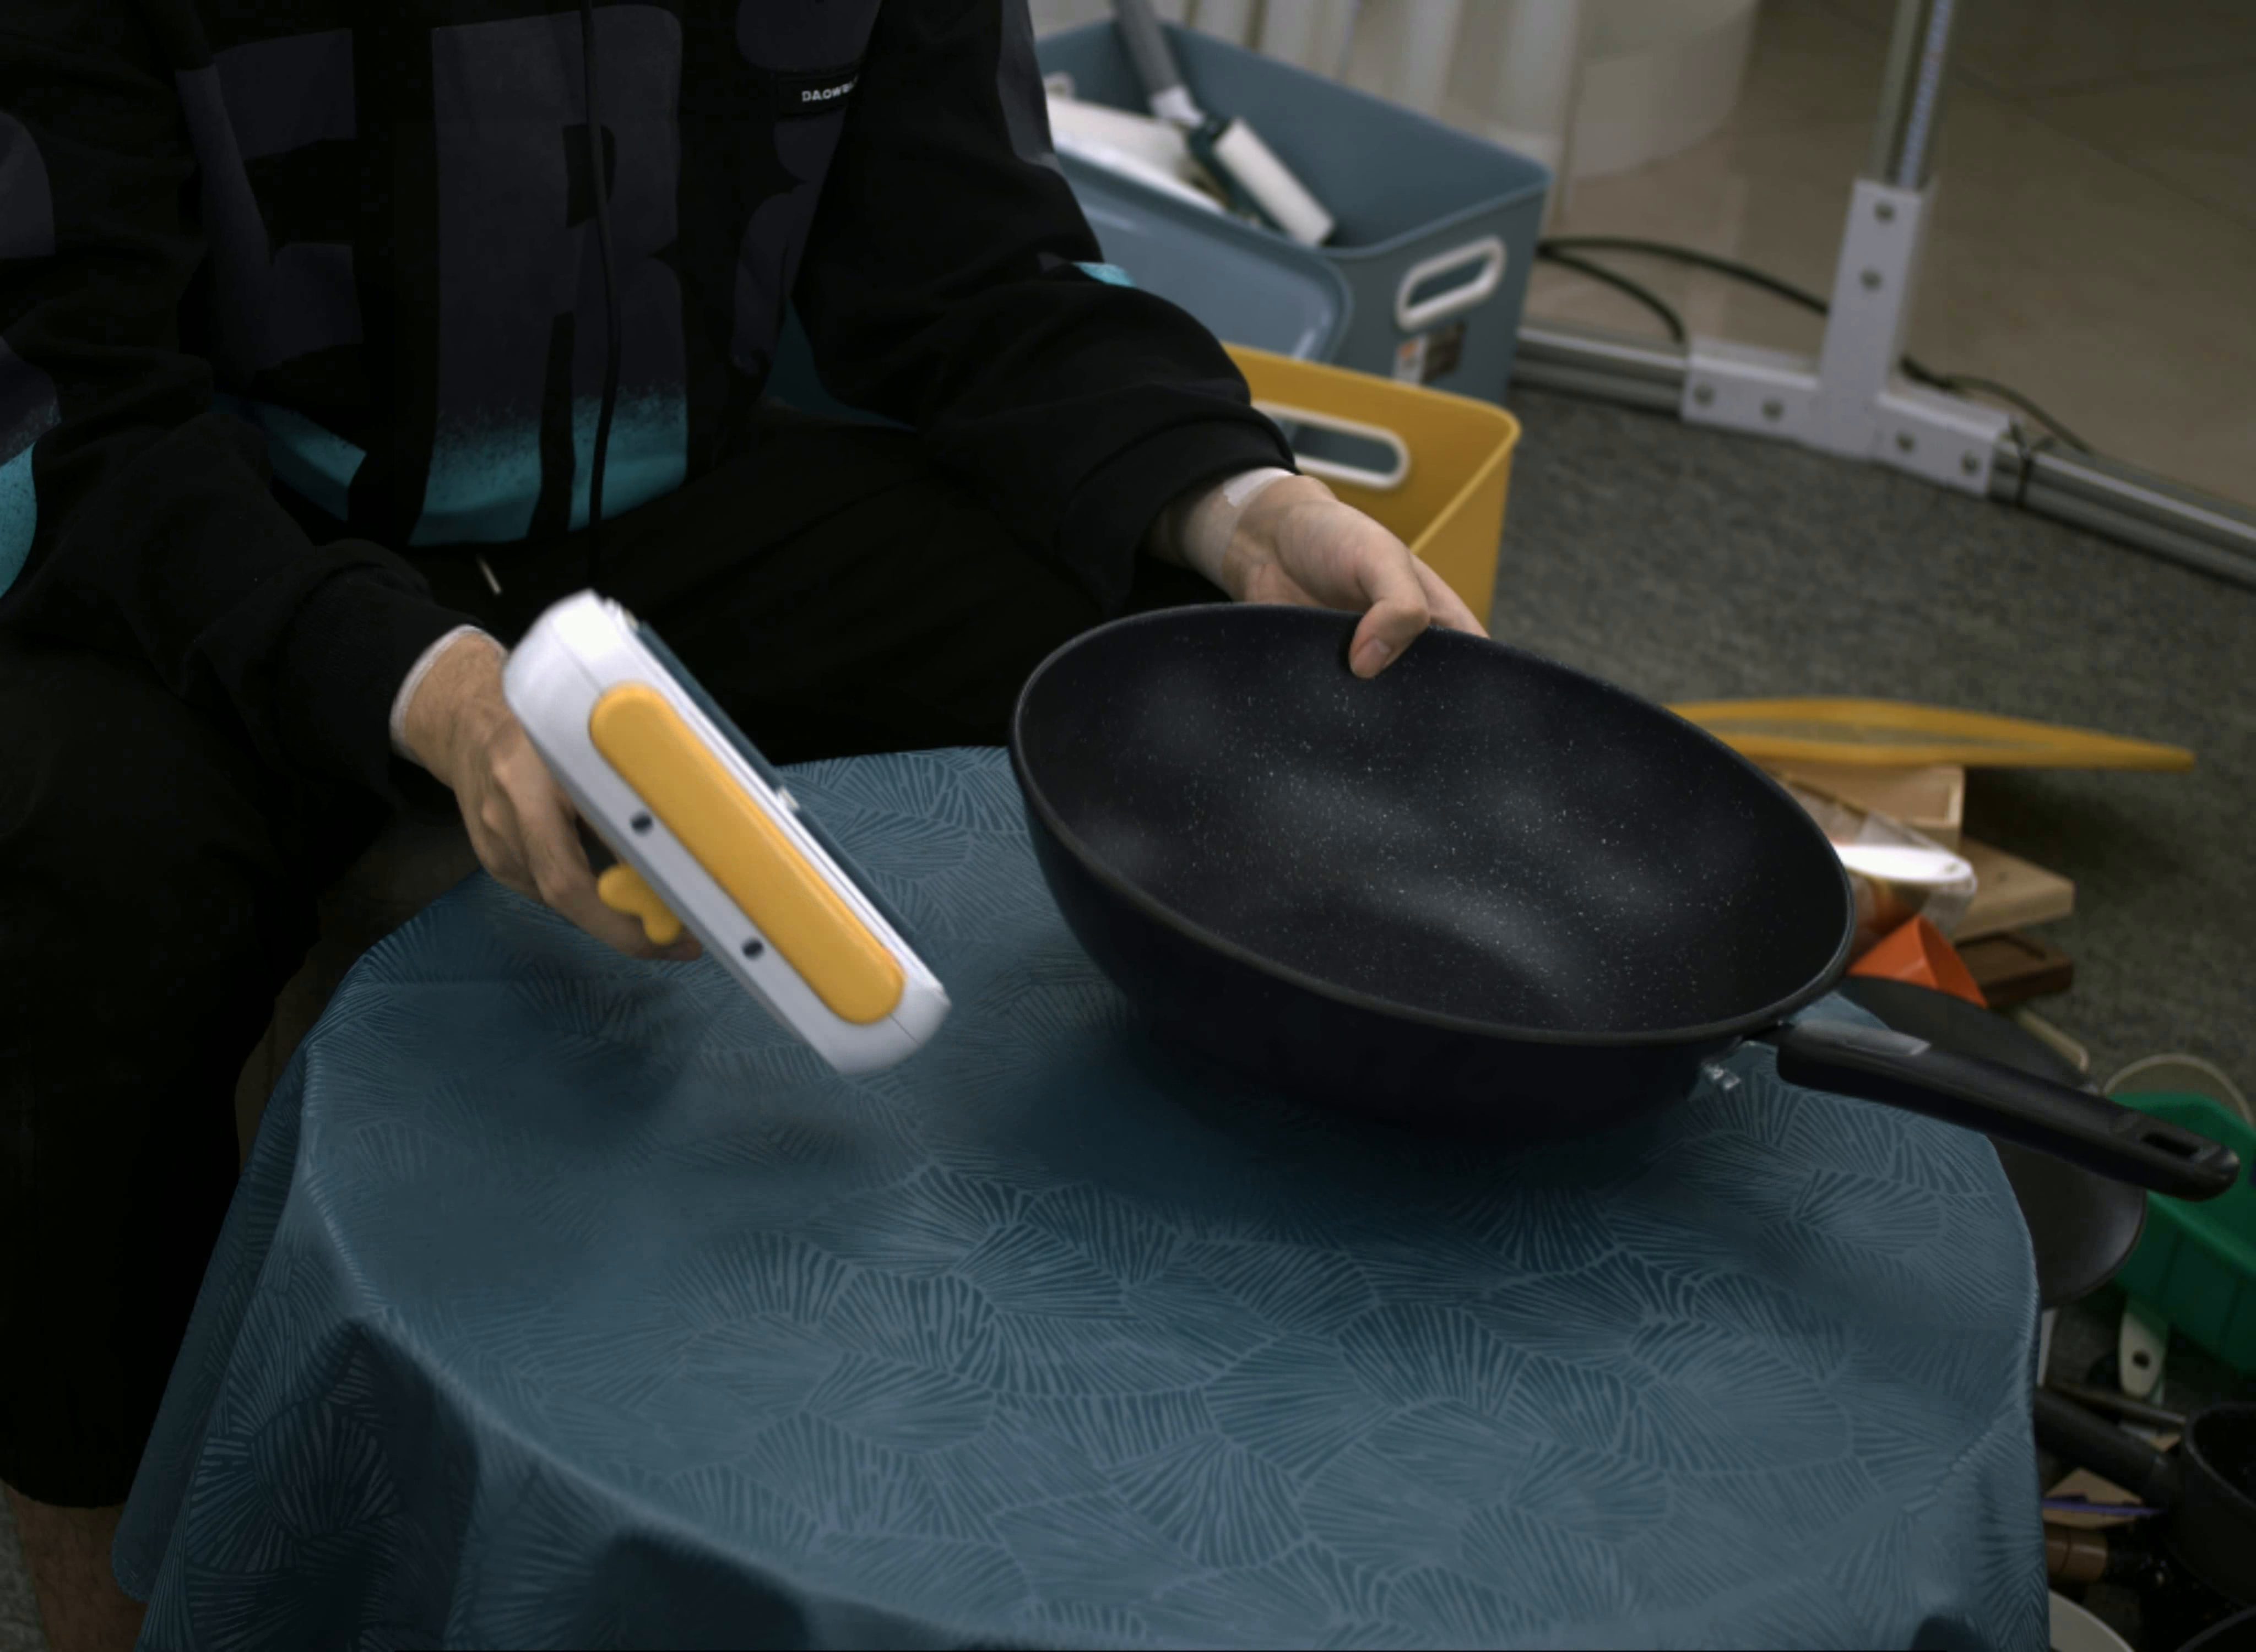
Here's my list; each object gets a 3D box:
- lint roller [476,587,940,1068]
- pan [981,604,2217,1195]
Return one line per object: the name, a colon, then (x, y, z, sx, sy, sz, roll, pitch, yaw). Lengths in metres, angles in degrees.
lint roller: (-0.158, 0.000, 1.821, 0.192, 0.074, 0.193, 43, -5, -15)
pan: (0.159, 0.055, 1.851, 0.480, 0.111, 0.309, 29, 33, 30)
